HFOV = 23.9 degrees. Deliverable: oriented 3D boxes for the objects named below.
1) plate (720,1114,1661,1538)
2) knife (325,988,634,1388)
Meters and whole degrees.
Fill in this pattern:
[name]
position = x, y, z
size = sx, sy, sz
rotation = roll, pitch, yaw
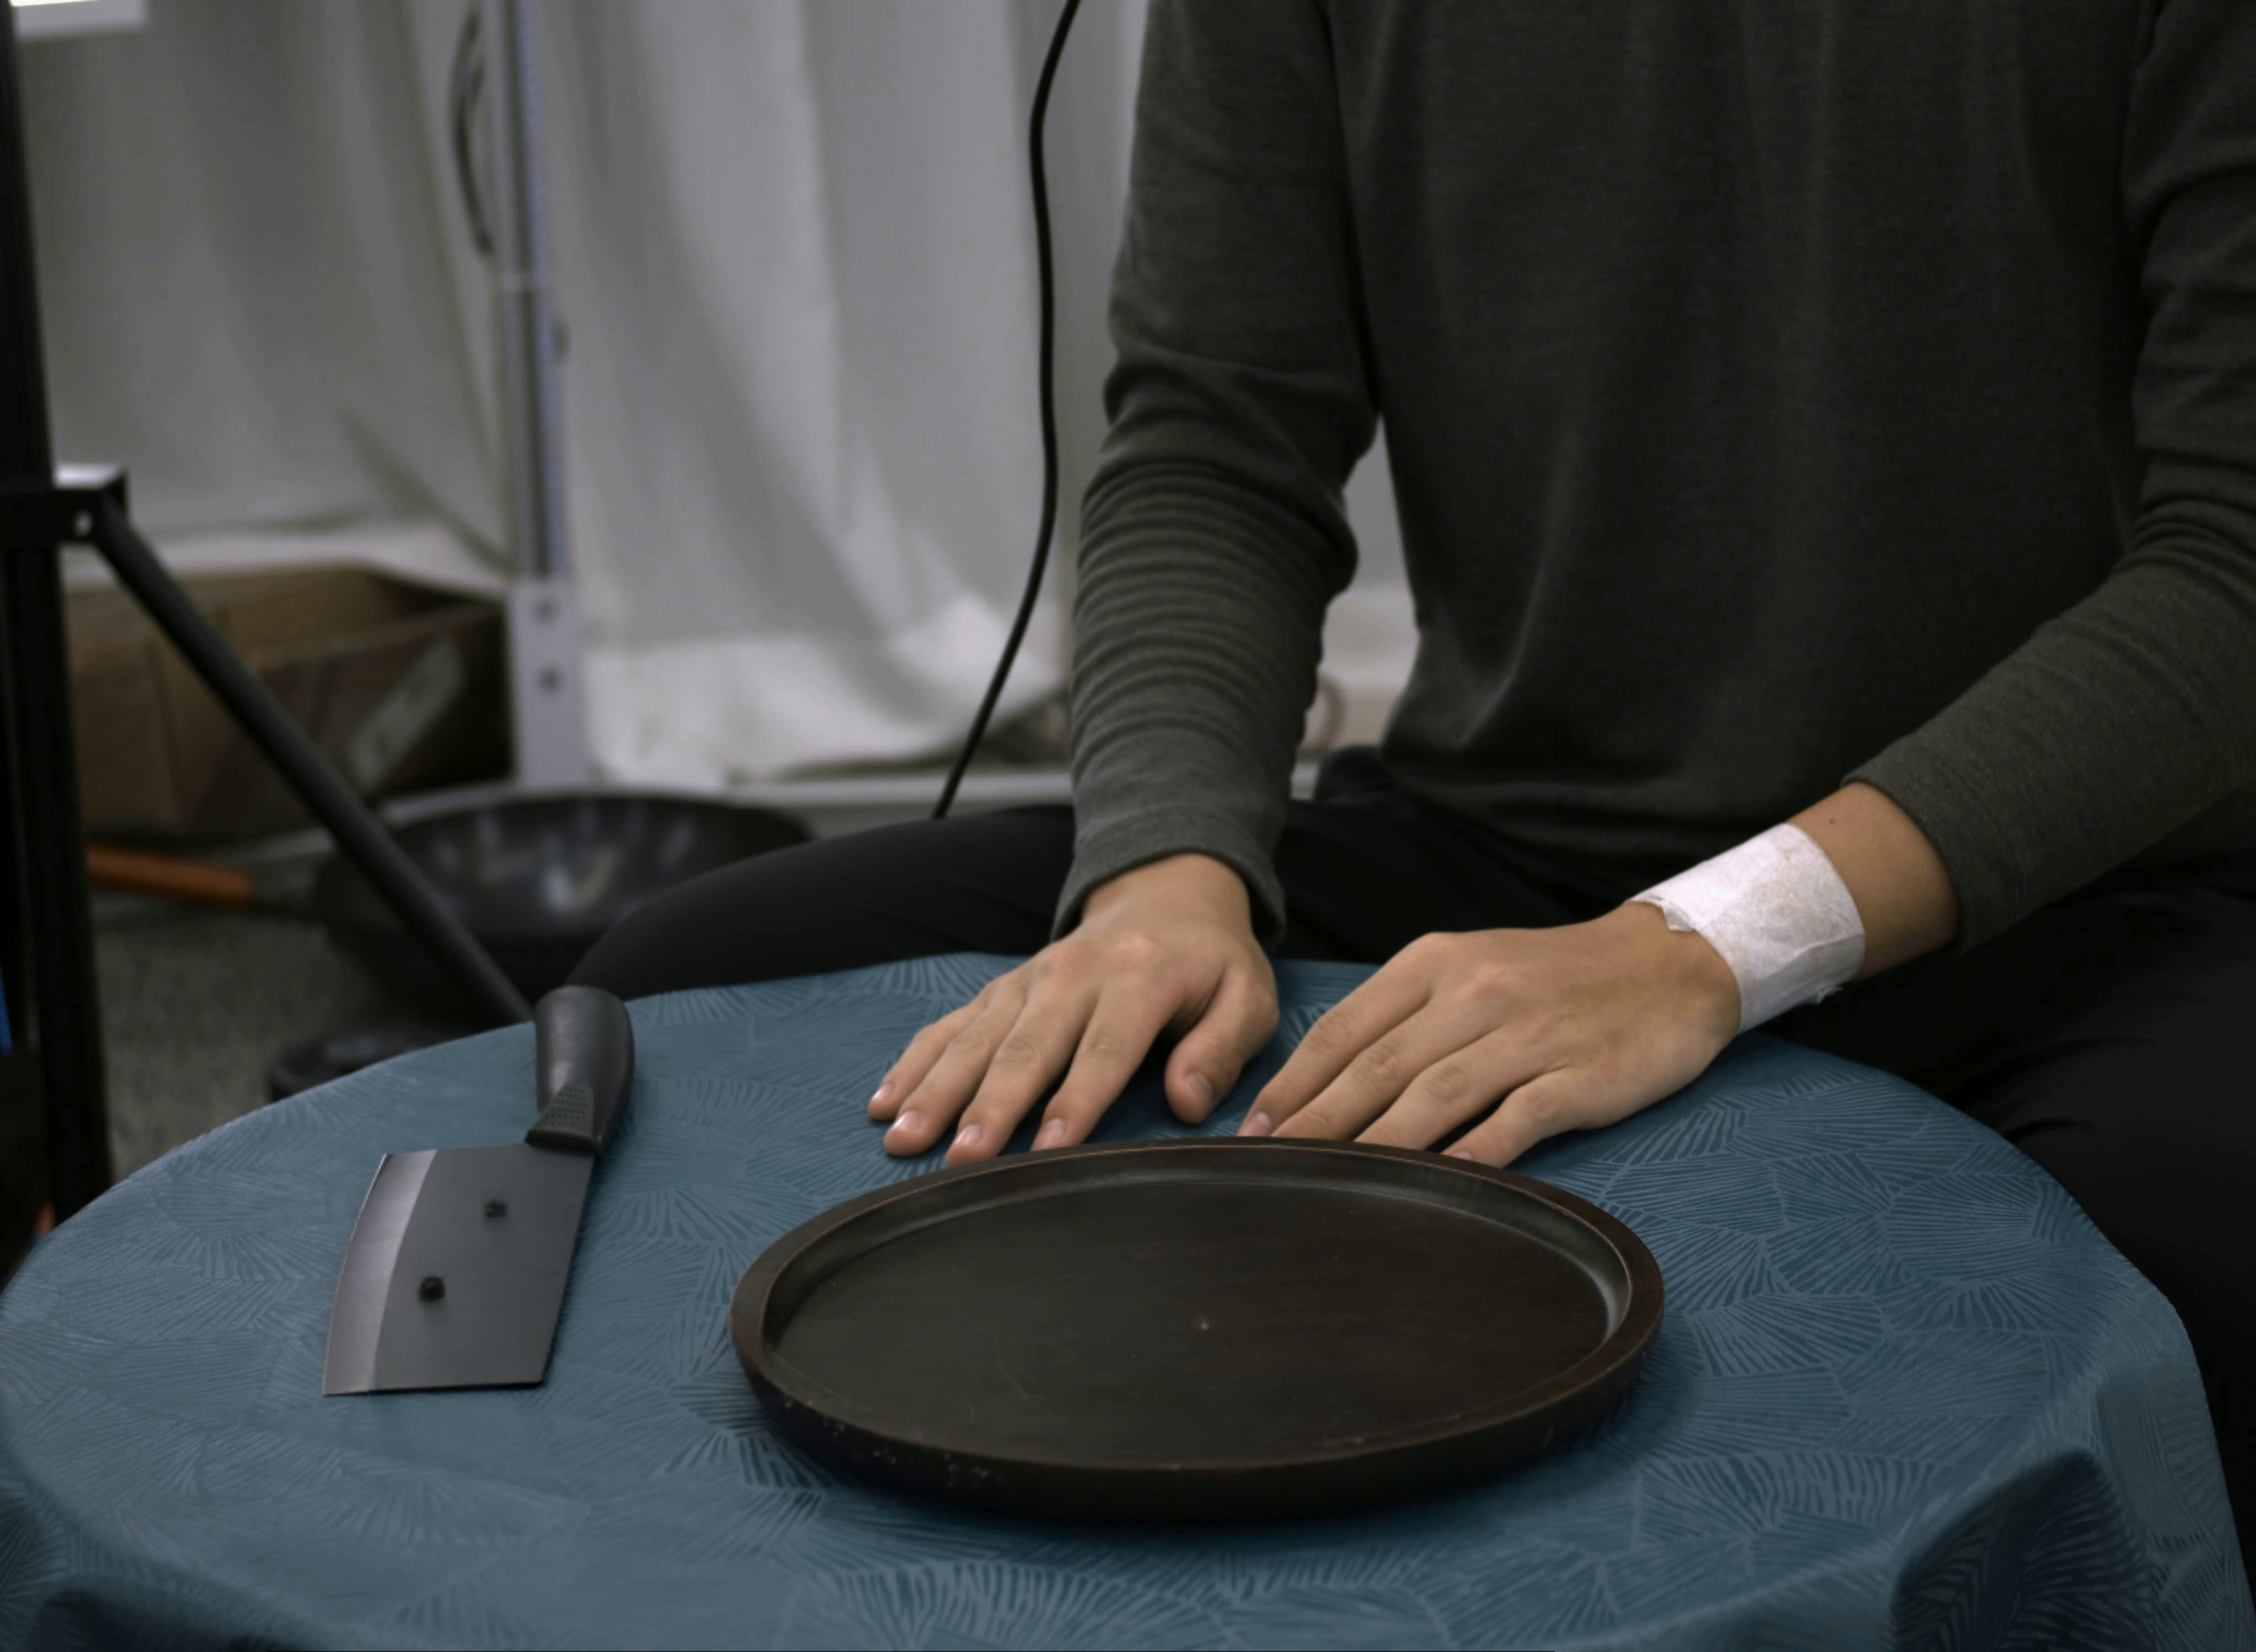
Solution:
[plate]
position = 0.017, 0.134, 1.425
size = 0.253, 0.029, 0.256
rotation = -3, 17, 0
[knife]
position = -0.186, 0.105, 1.576
size = 0.081, 0.021, 0.302
rotation = -2, 17, 5
